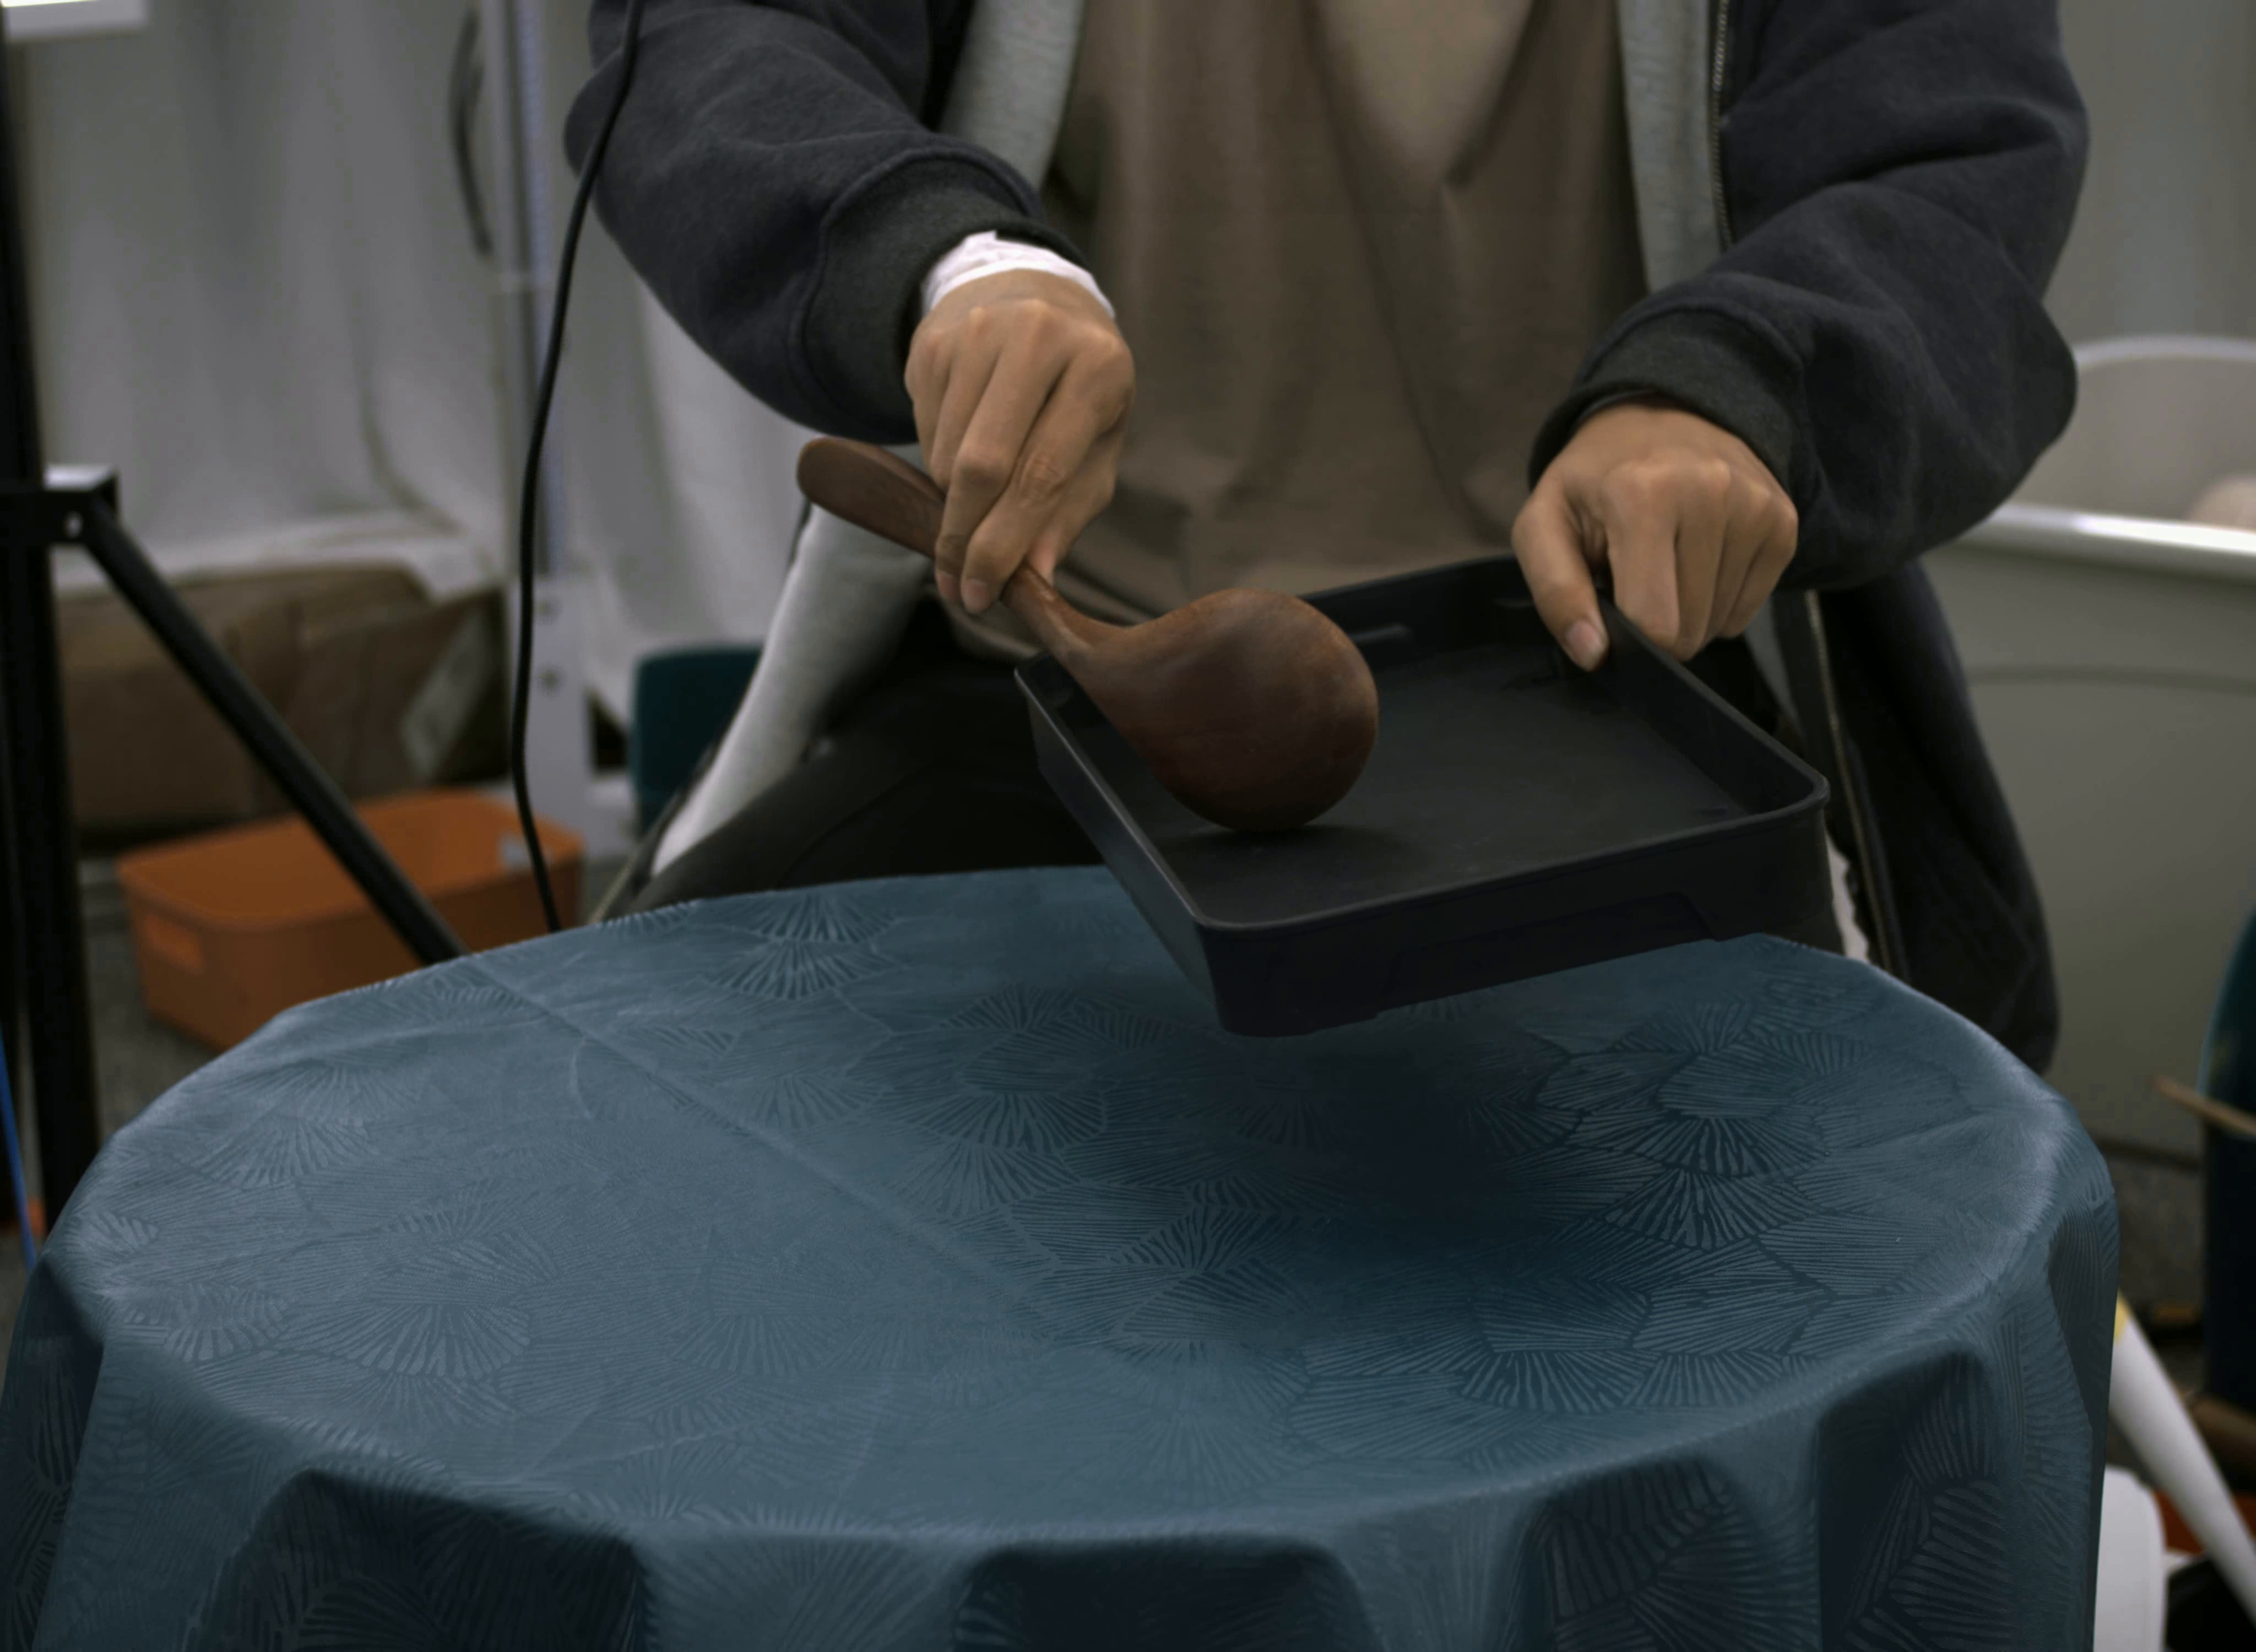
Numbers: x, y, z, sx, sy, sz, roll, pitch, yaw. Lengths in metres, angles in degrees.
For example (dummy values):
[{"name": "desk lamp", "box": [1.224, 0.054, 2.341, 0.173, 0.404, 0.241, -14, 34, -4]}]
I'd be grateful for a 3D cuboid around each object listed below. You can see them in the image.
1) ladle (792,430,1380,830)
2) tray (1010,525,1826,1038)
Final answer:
[{"name": "ladle", "box": [-0.016, -0.073, 1.670, 0.063, 0.076, 0.266, -6, 26, -32]}, {"name": "tray", "box": [0.080, -0.019, 1.595, 0.182, 0.037, 0.322, -12, 19, -7]}]
